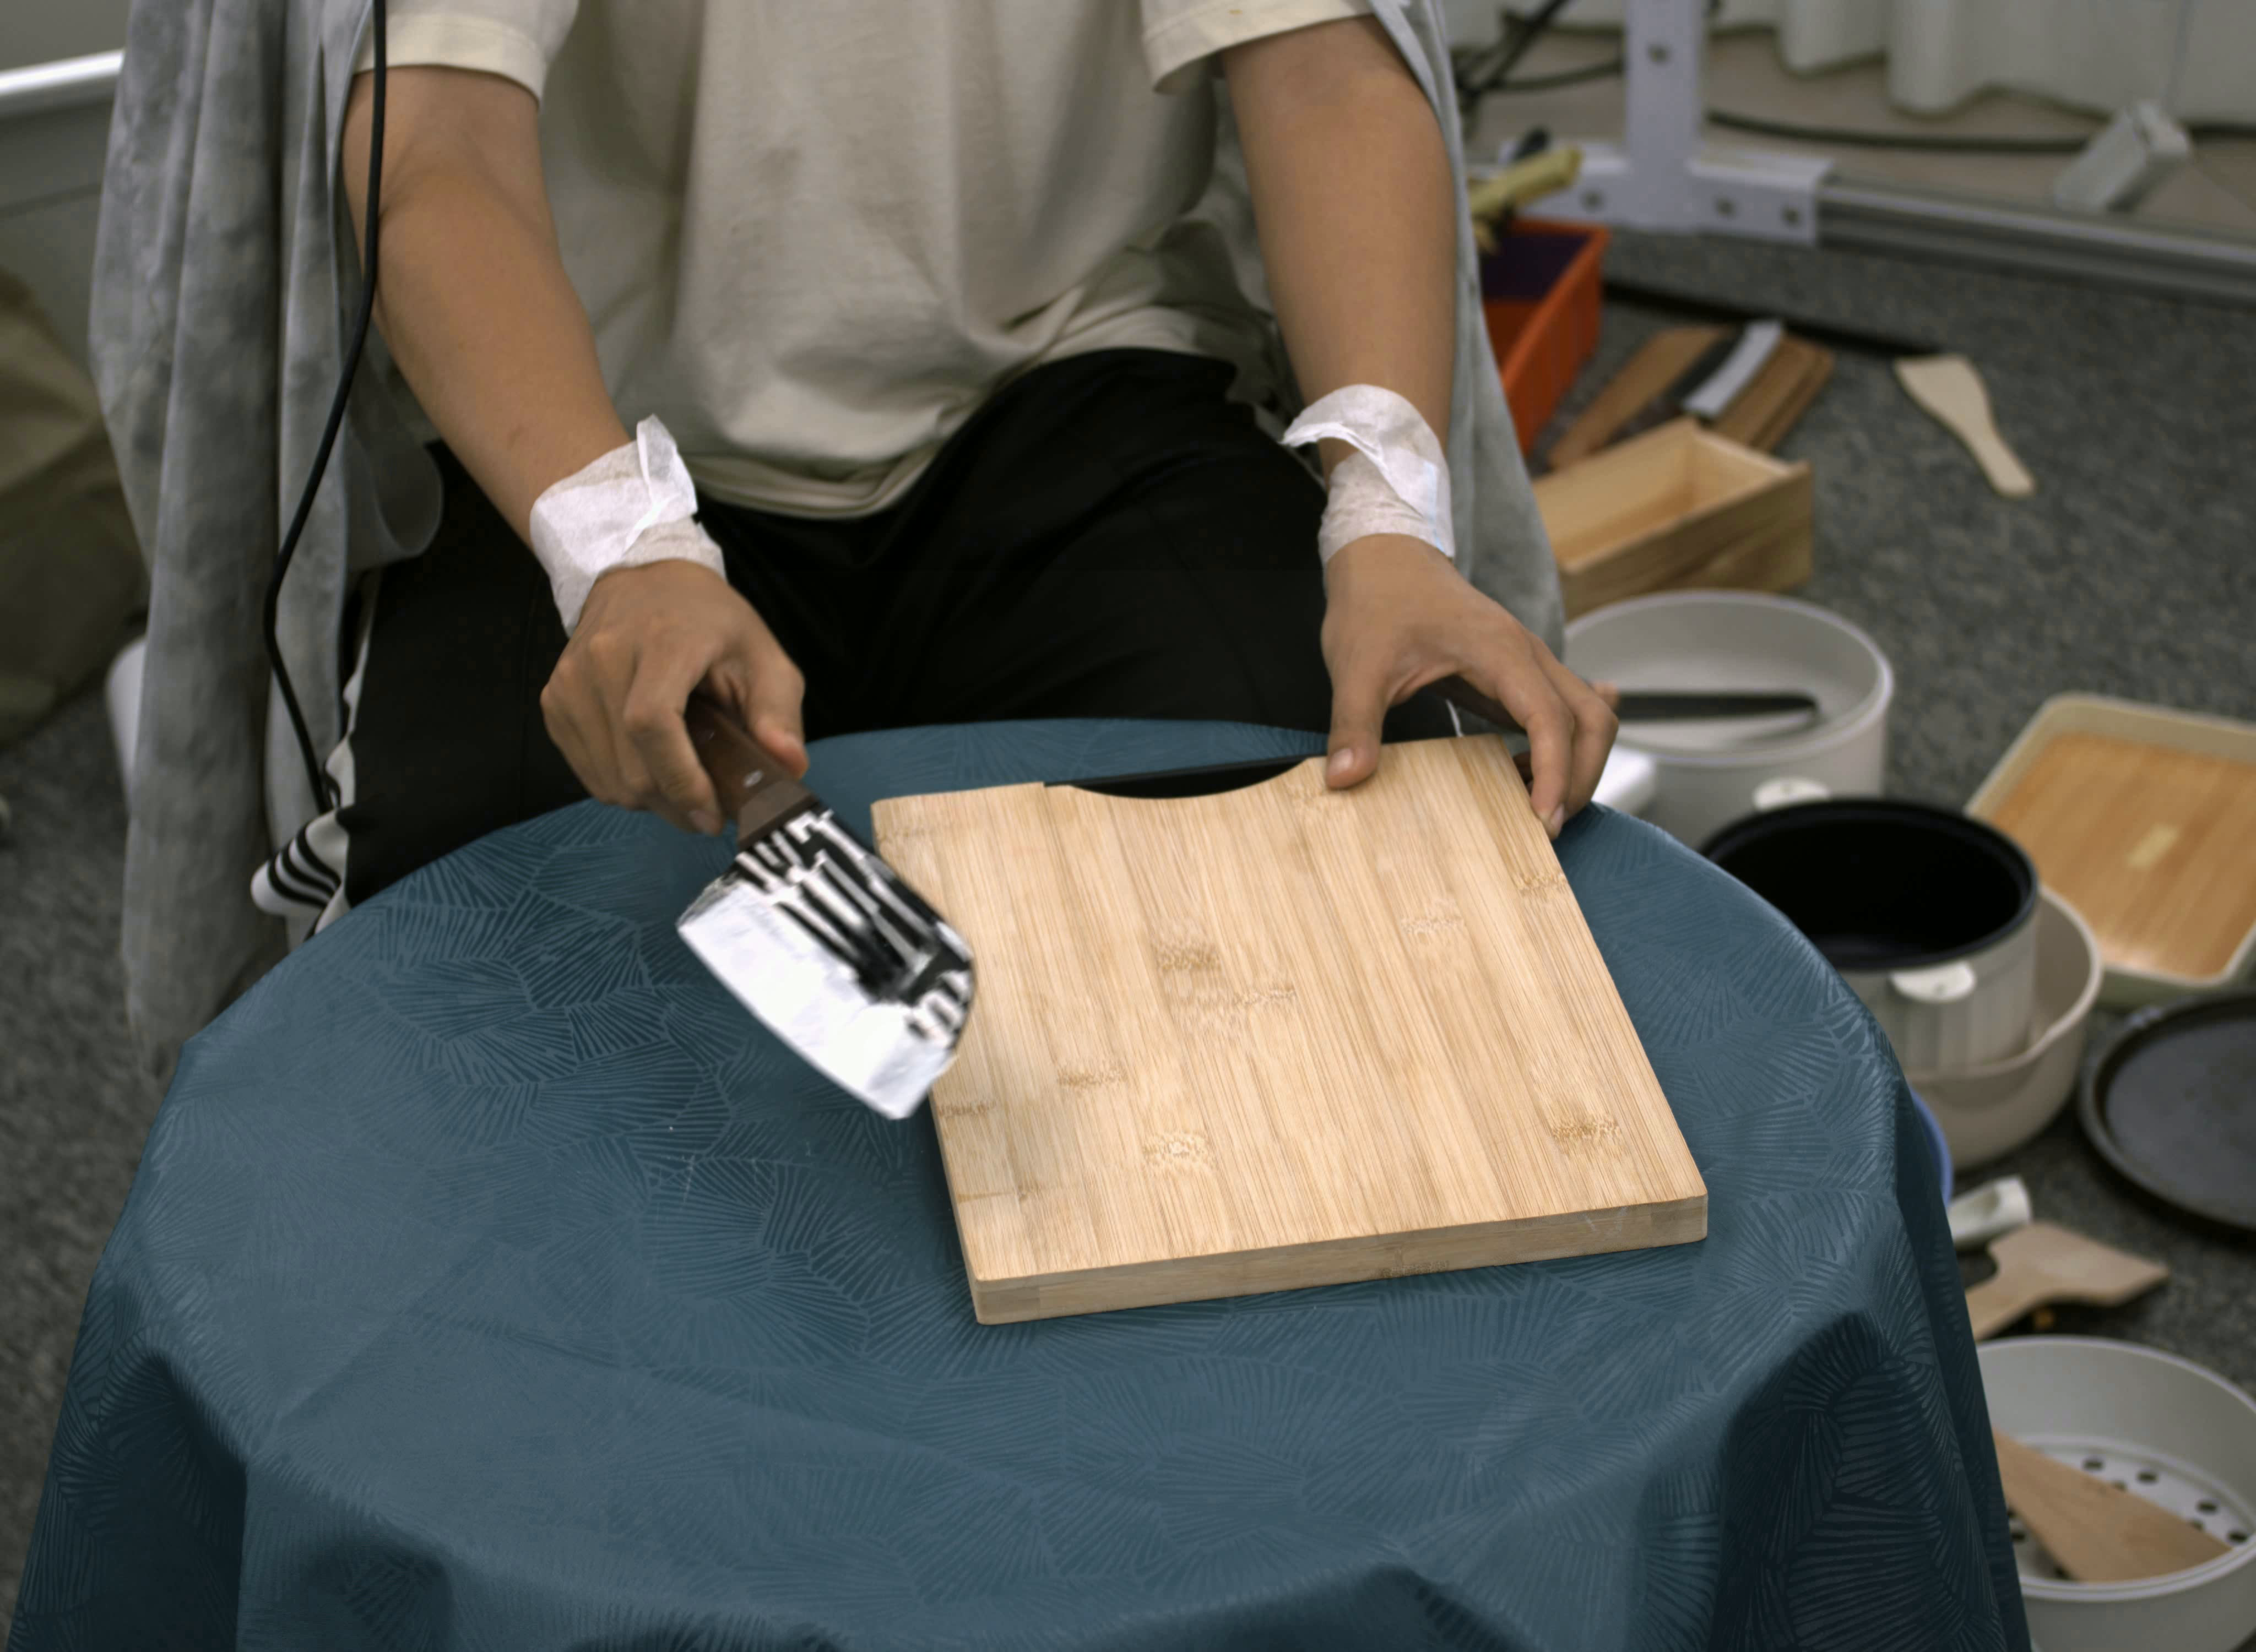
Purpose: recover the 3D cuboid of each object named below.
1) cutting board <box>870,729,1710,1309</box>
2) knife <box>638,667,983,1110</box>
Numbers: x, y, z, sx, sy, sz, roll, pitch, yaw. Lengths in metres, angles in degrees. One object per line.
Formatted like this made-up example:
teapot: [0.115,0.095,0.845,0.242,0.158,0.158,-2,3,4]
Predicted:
cutting board: [0.046,0.061,1.956,0.250,0.023,0.353,-6,27,-7]
knife: [-0.117,0.019,1.911,0.068,0.024,0.301,-40,35,-7]
